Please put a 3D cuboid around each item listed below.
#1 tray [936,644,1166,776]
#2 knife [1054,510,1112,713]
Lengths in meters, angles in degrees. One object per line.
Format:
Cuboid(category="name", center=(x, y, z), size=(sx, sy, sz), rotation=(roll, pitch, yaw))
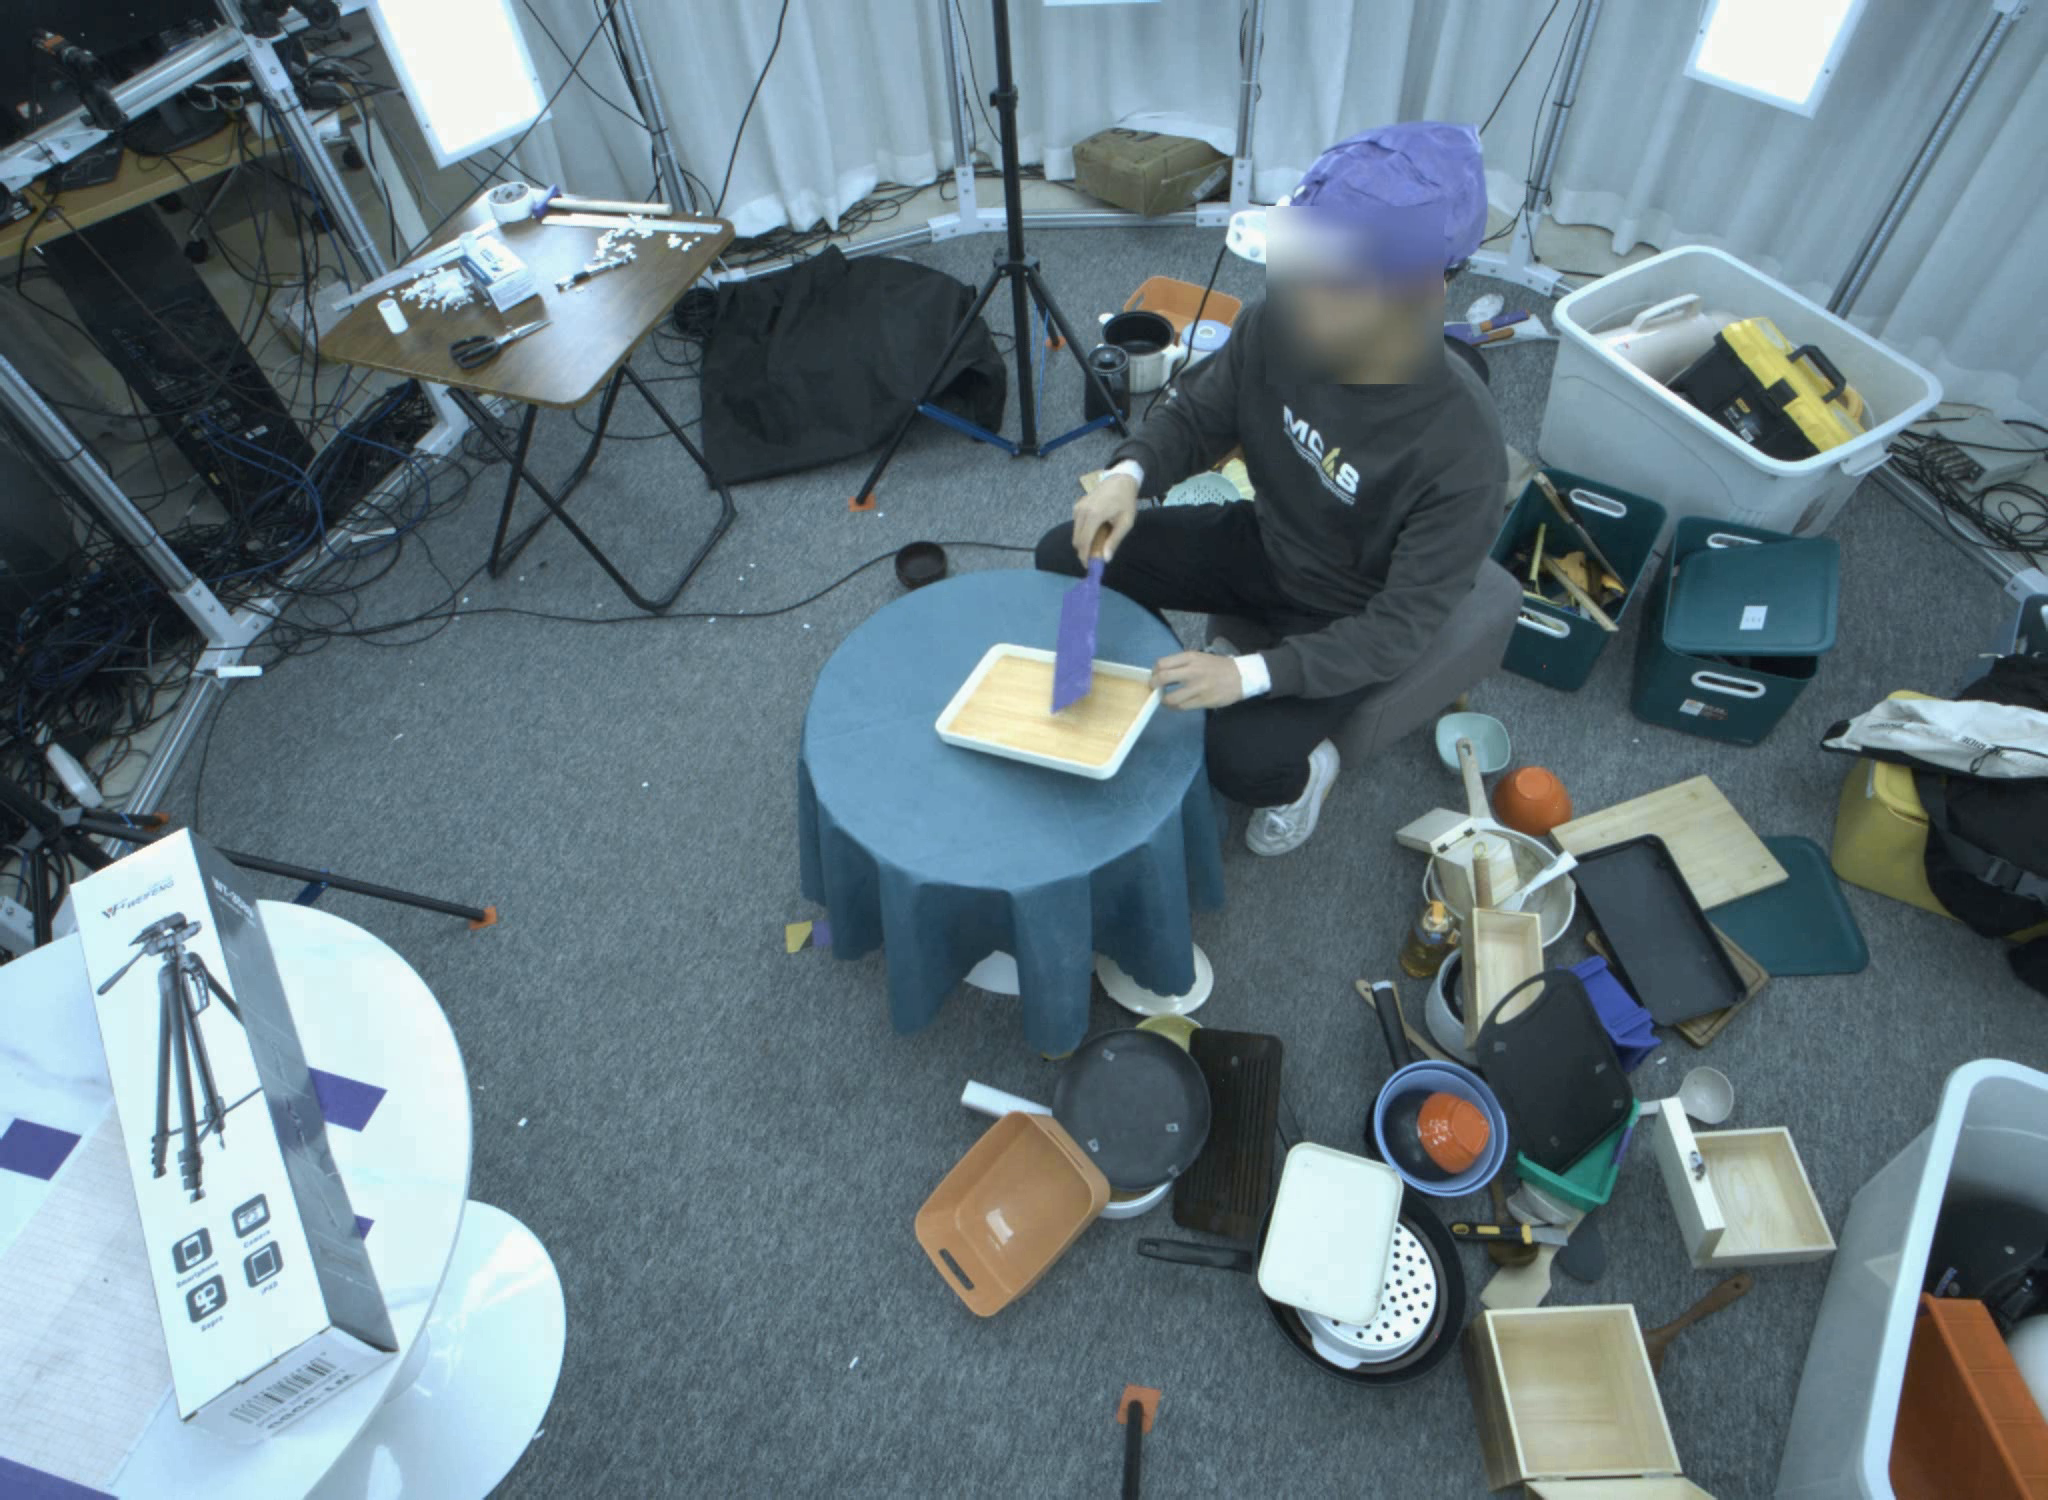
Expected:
Cuboid(category="tray", center=(0.037, -0.063, 1.774), size=(0.294, 0.028, 0.192), rotation=(13, 53, 31))
Cuboid(category="knife", center=(0.082, -0.203, 1.775), size=(0.033, 0.102, 0.313), rotation=(24, 59, -30))
